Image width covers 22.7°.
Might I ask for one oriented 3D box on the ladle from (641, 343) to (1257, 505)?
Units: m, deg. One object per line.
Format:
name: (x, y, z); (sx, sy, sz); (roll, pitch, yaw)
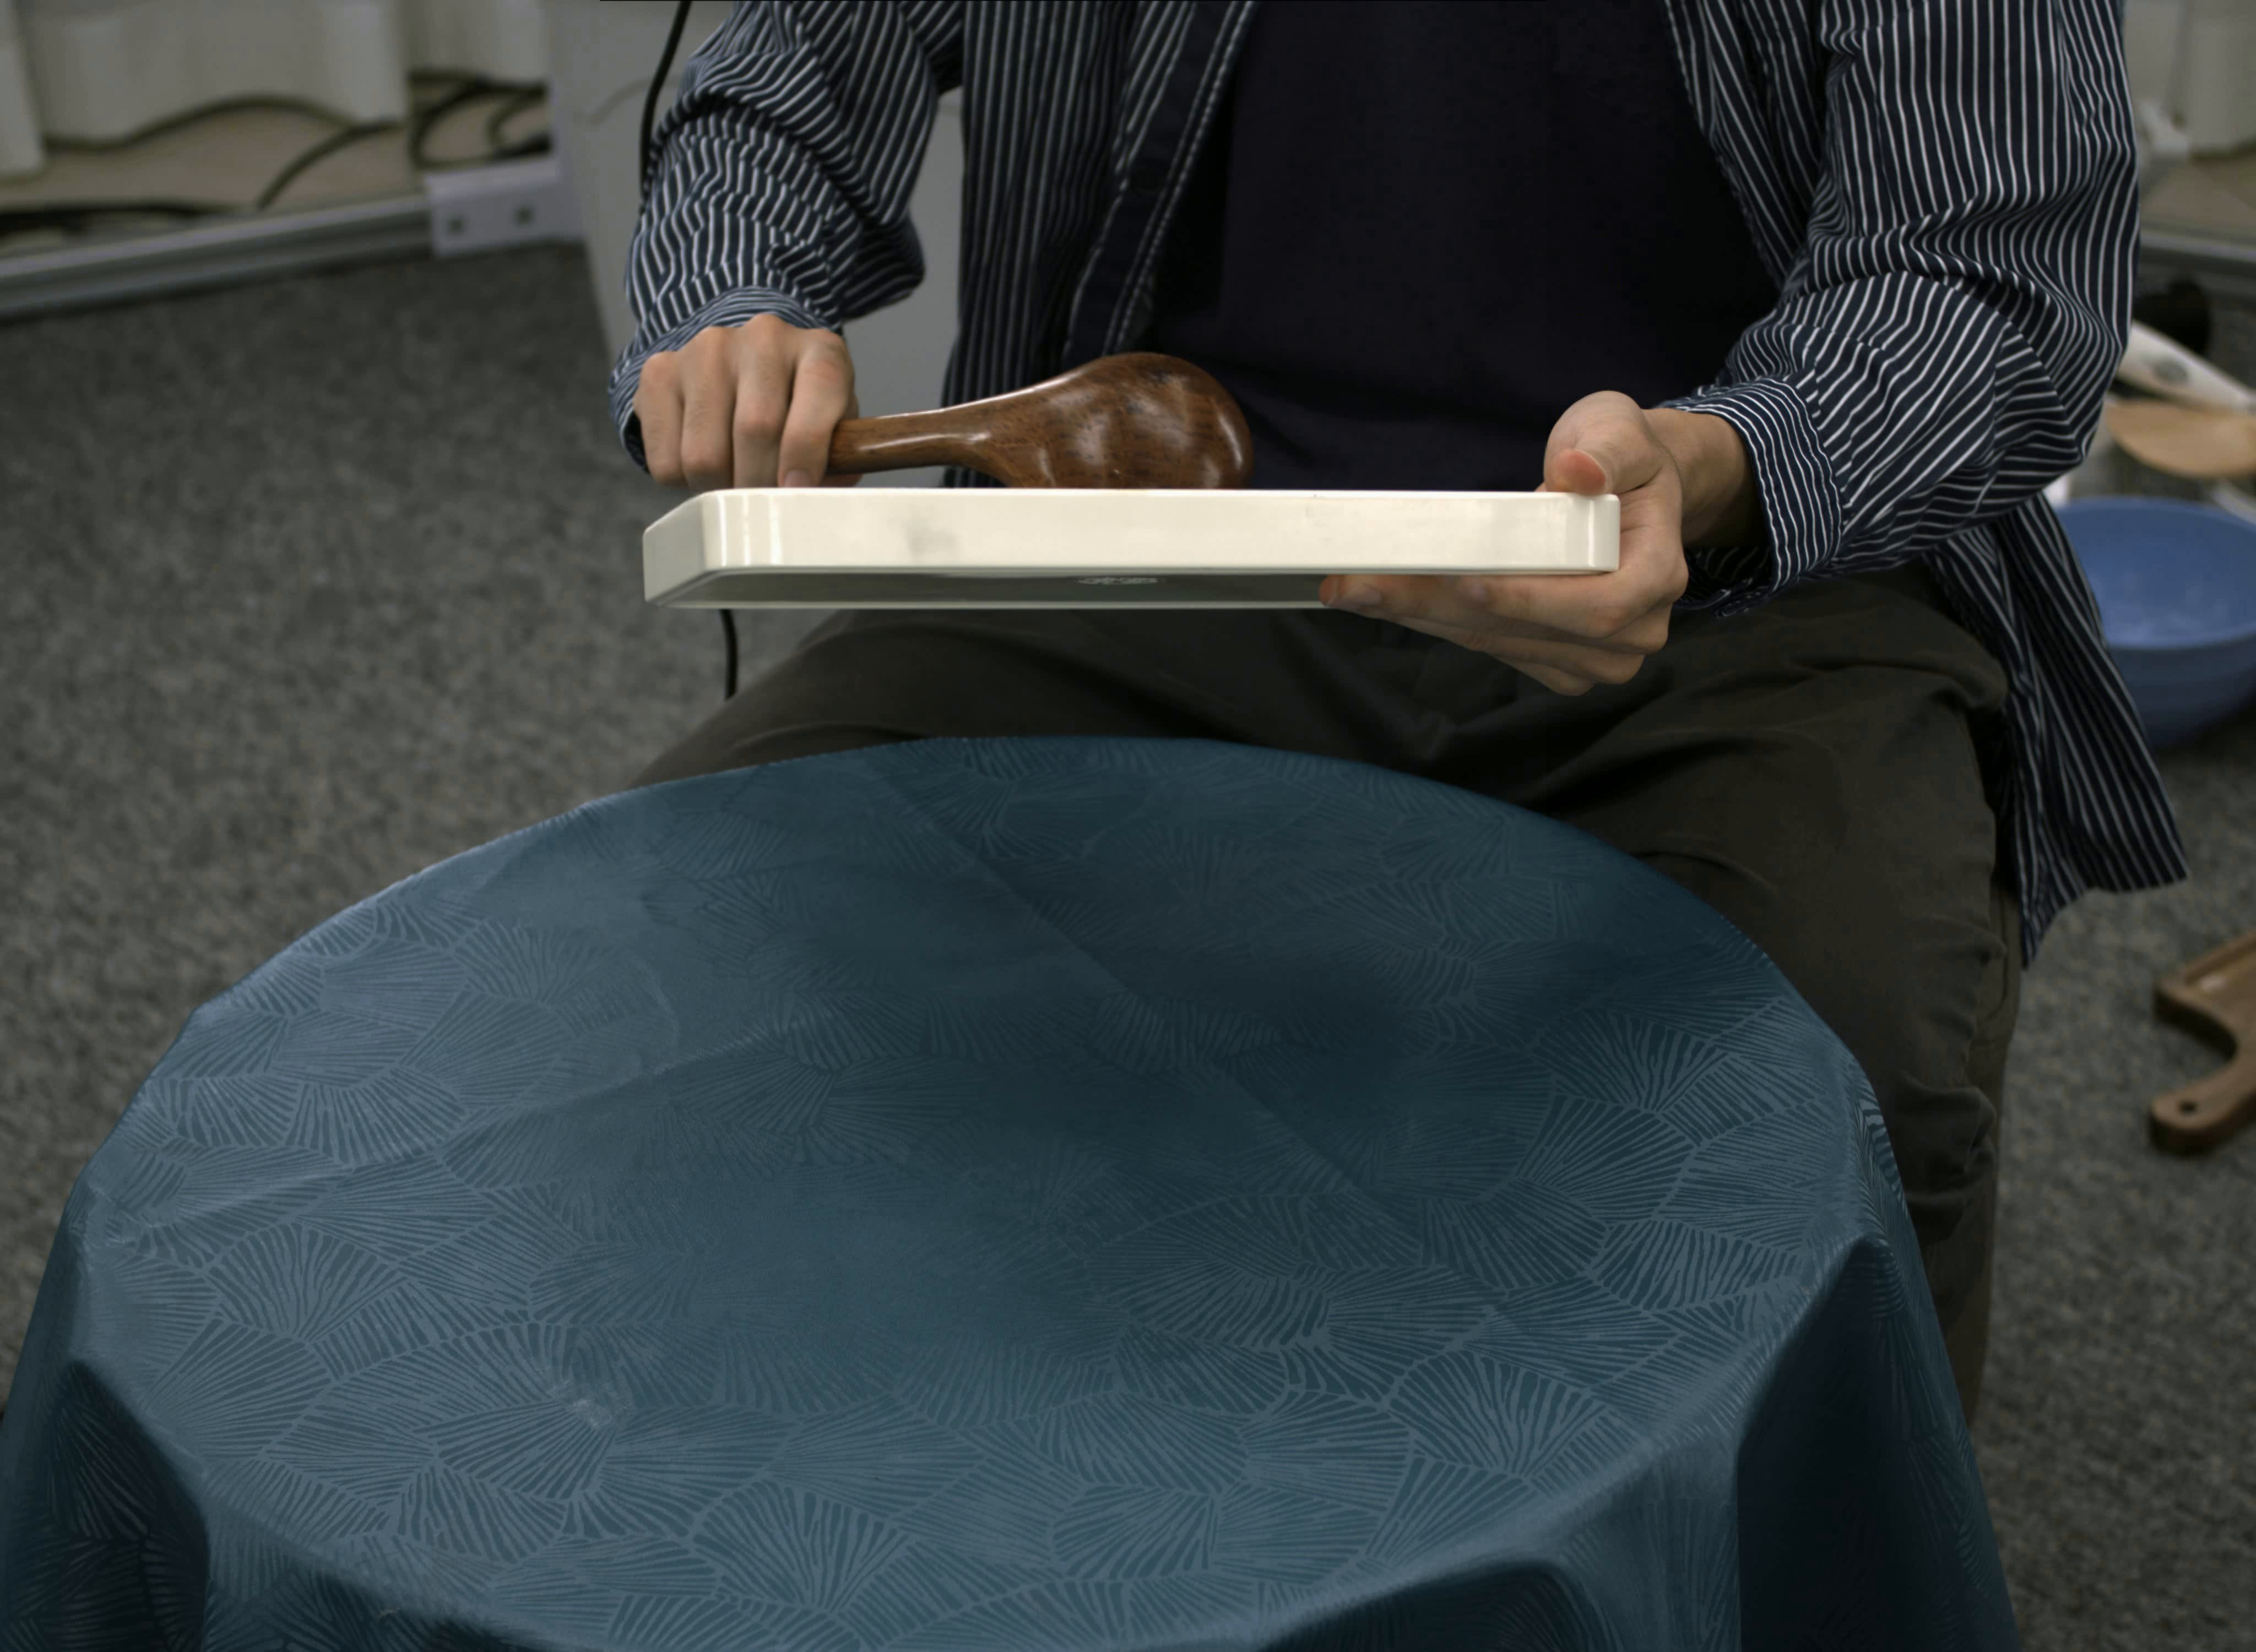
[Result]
ladle: (-0.064, -0.125, 1.993); (0.271, 0.076, 0.083); (-2, 58, 50)

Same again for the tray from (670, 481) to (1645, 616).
tray: (0.006, -0.090, 1.867); (0.300, 0.027, 0.190); (0, -3, -12)
